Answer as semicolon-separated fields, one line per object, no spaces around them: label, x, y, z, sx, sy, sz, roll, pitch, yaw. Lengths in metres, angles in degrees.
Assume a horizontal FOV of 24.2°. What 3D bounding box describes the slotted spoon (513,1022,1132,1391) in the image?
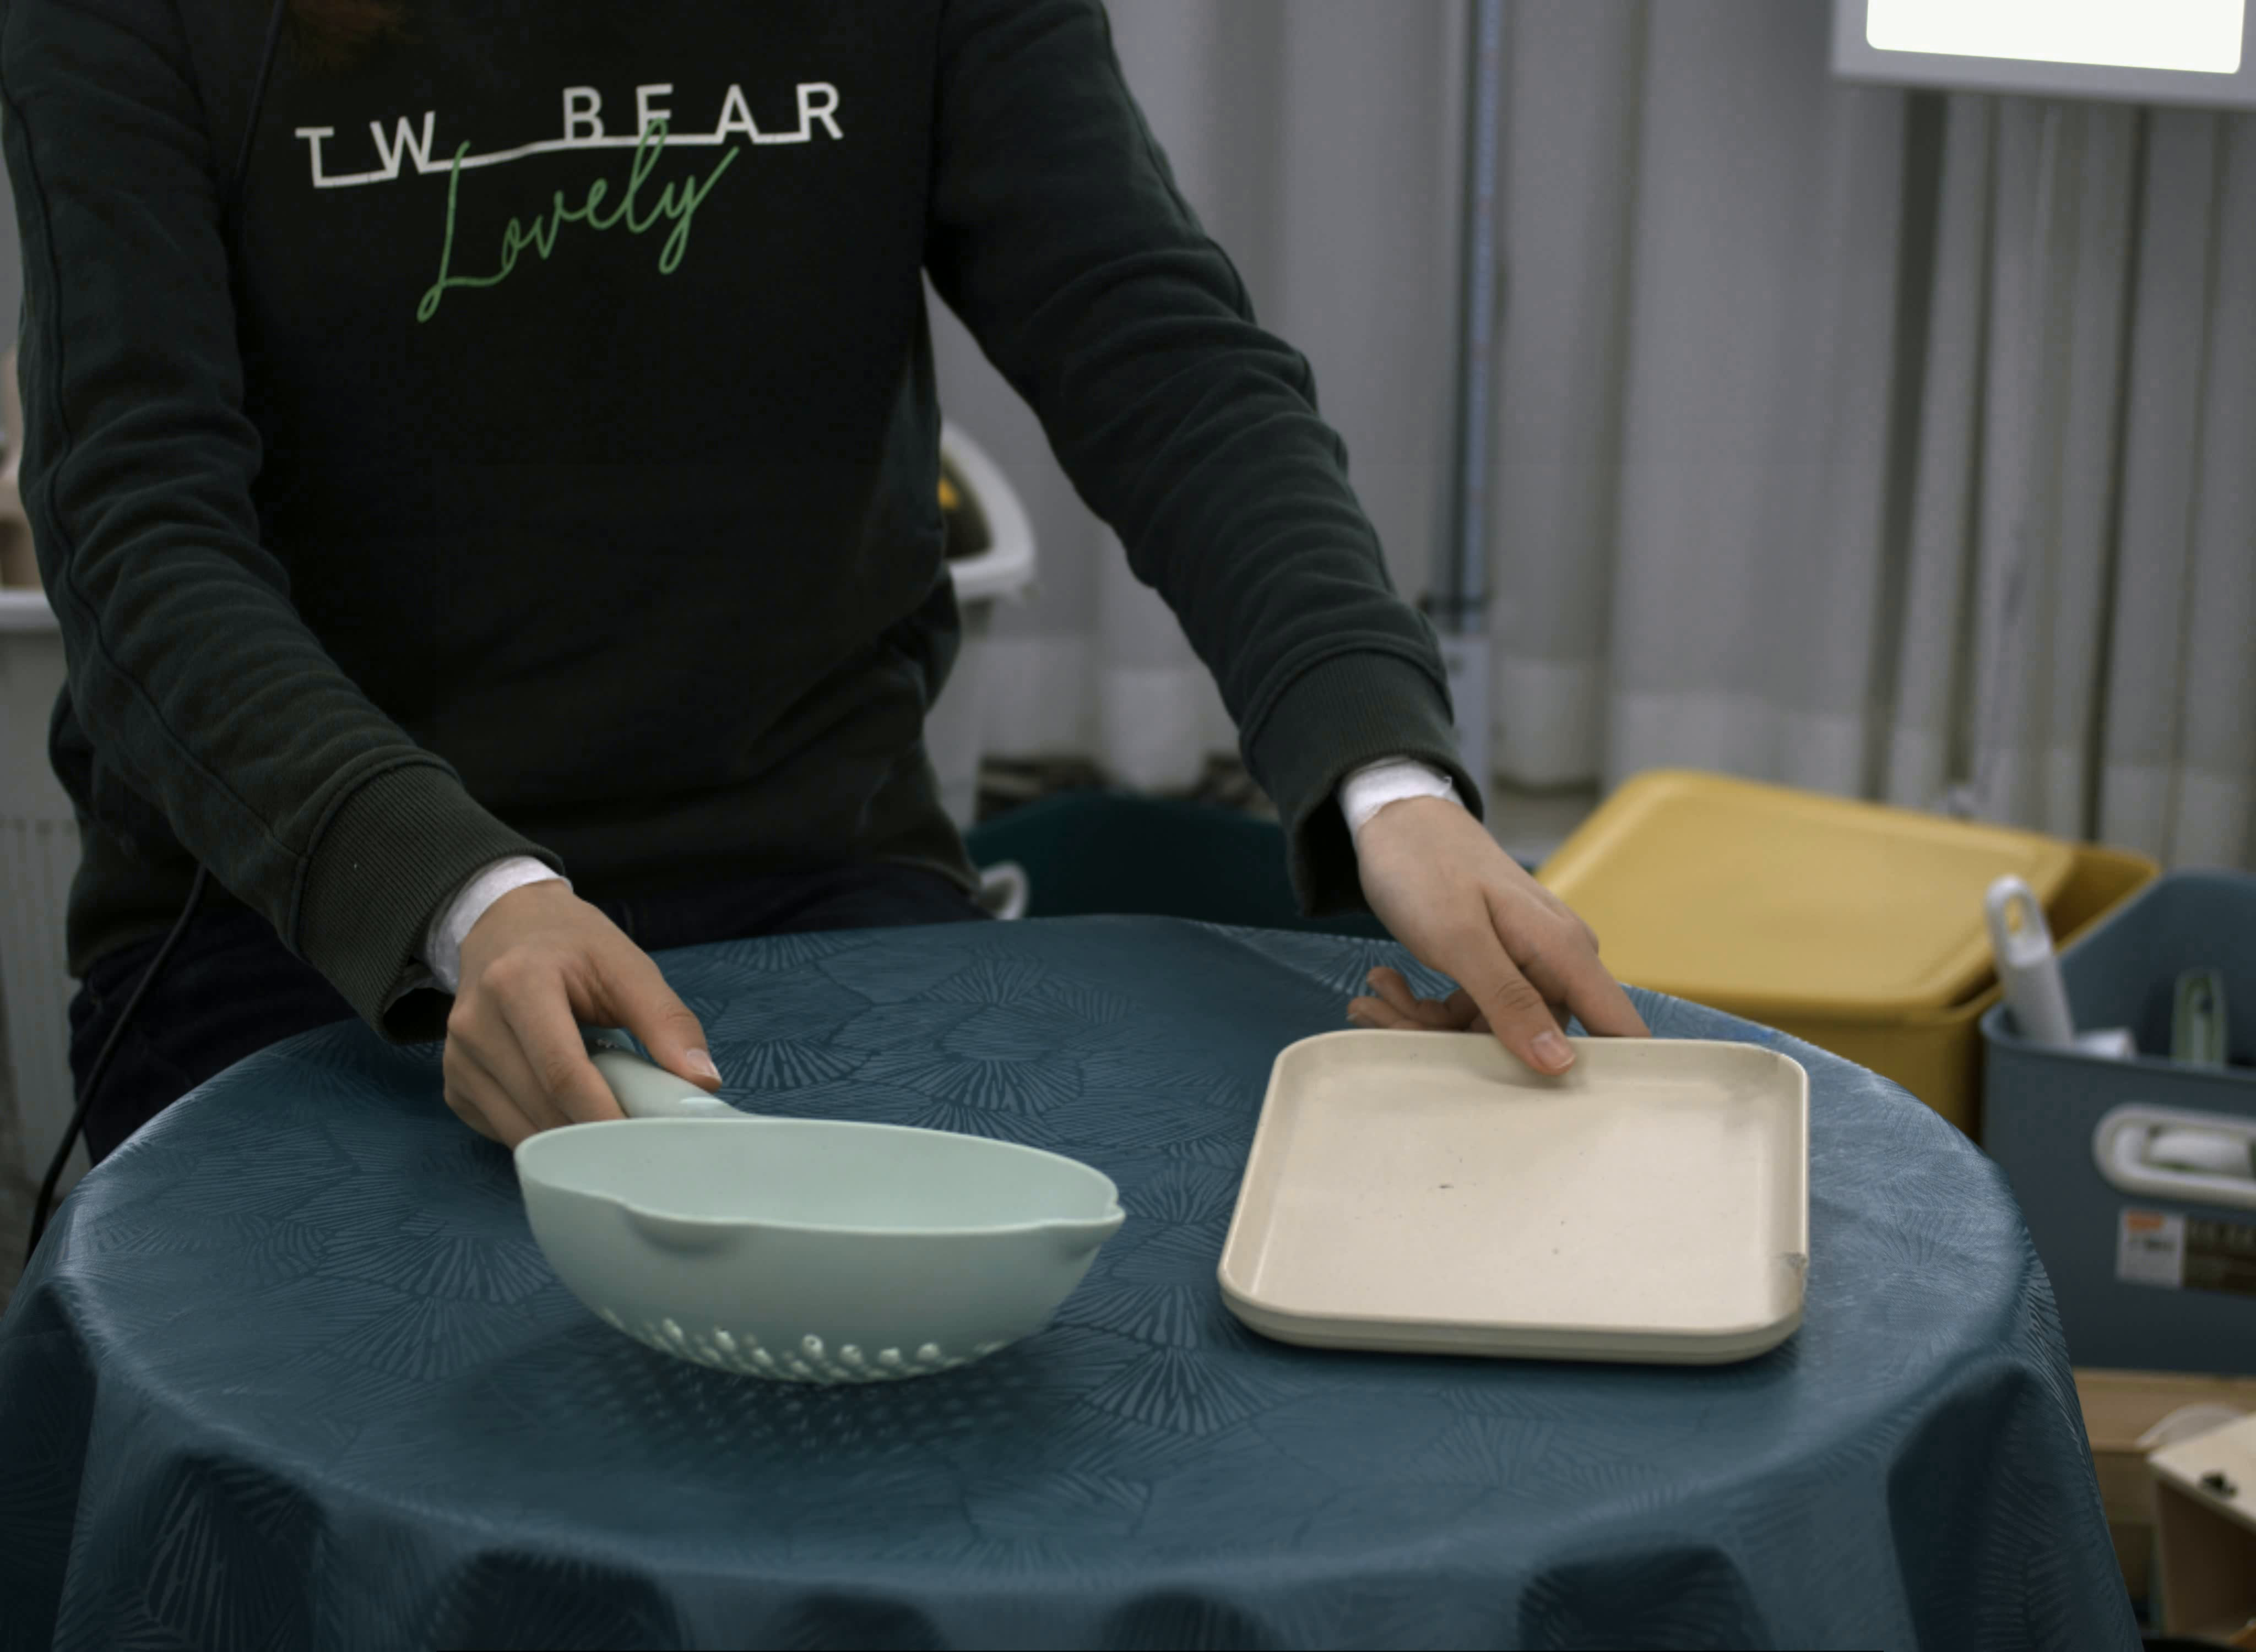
slotted spoon;-0.122;0.096;1.554;0.170;0.076;0.355;3;15;-22

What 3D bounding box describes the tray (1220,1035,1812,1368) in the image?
tray;0.119;0.112;1.590;0.170;0.017;0.239;2;17;6
